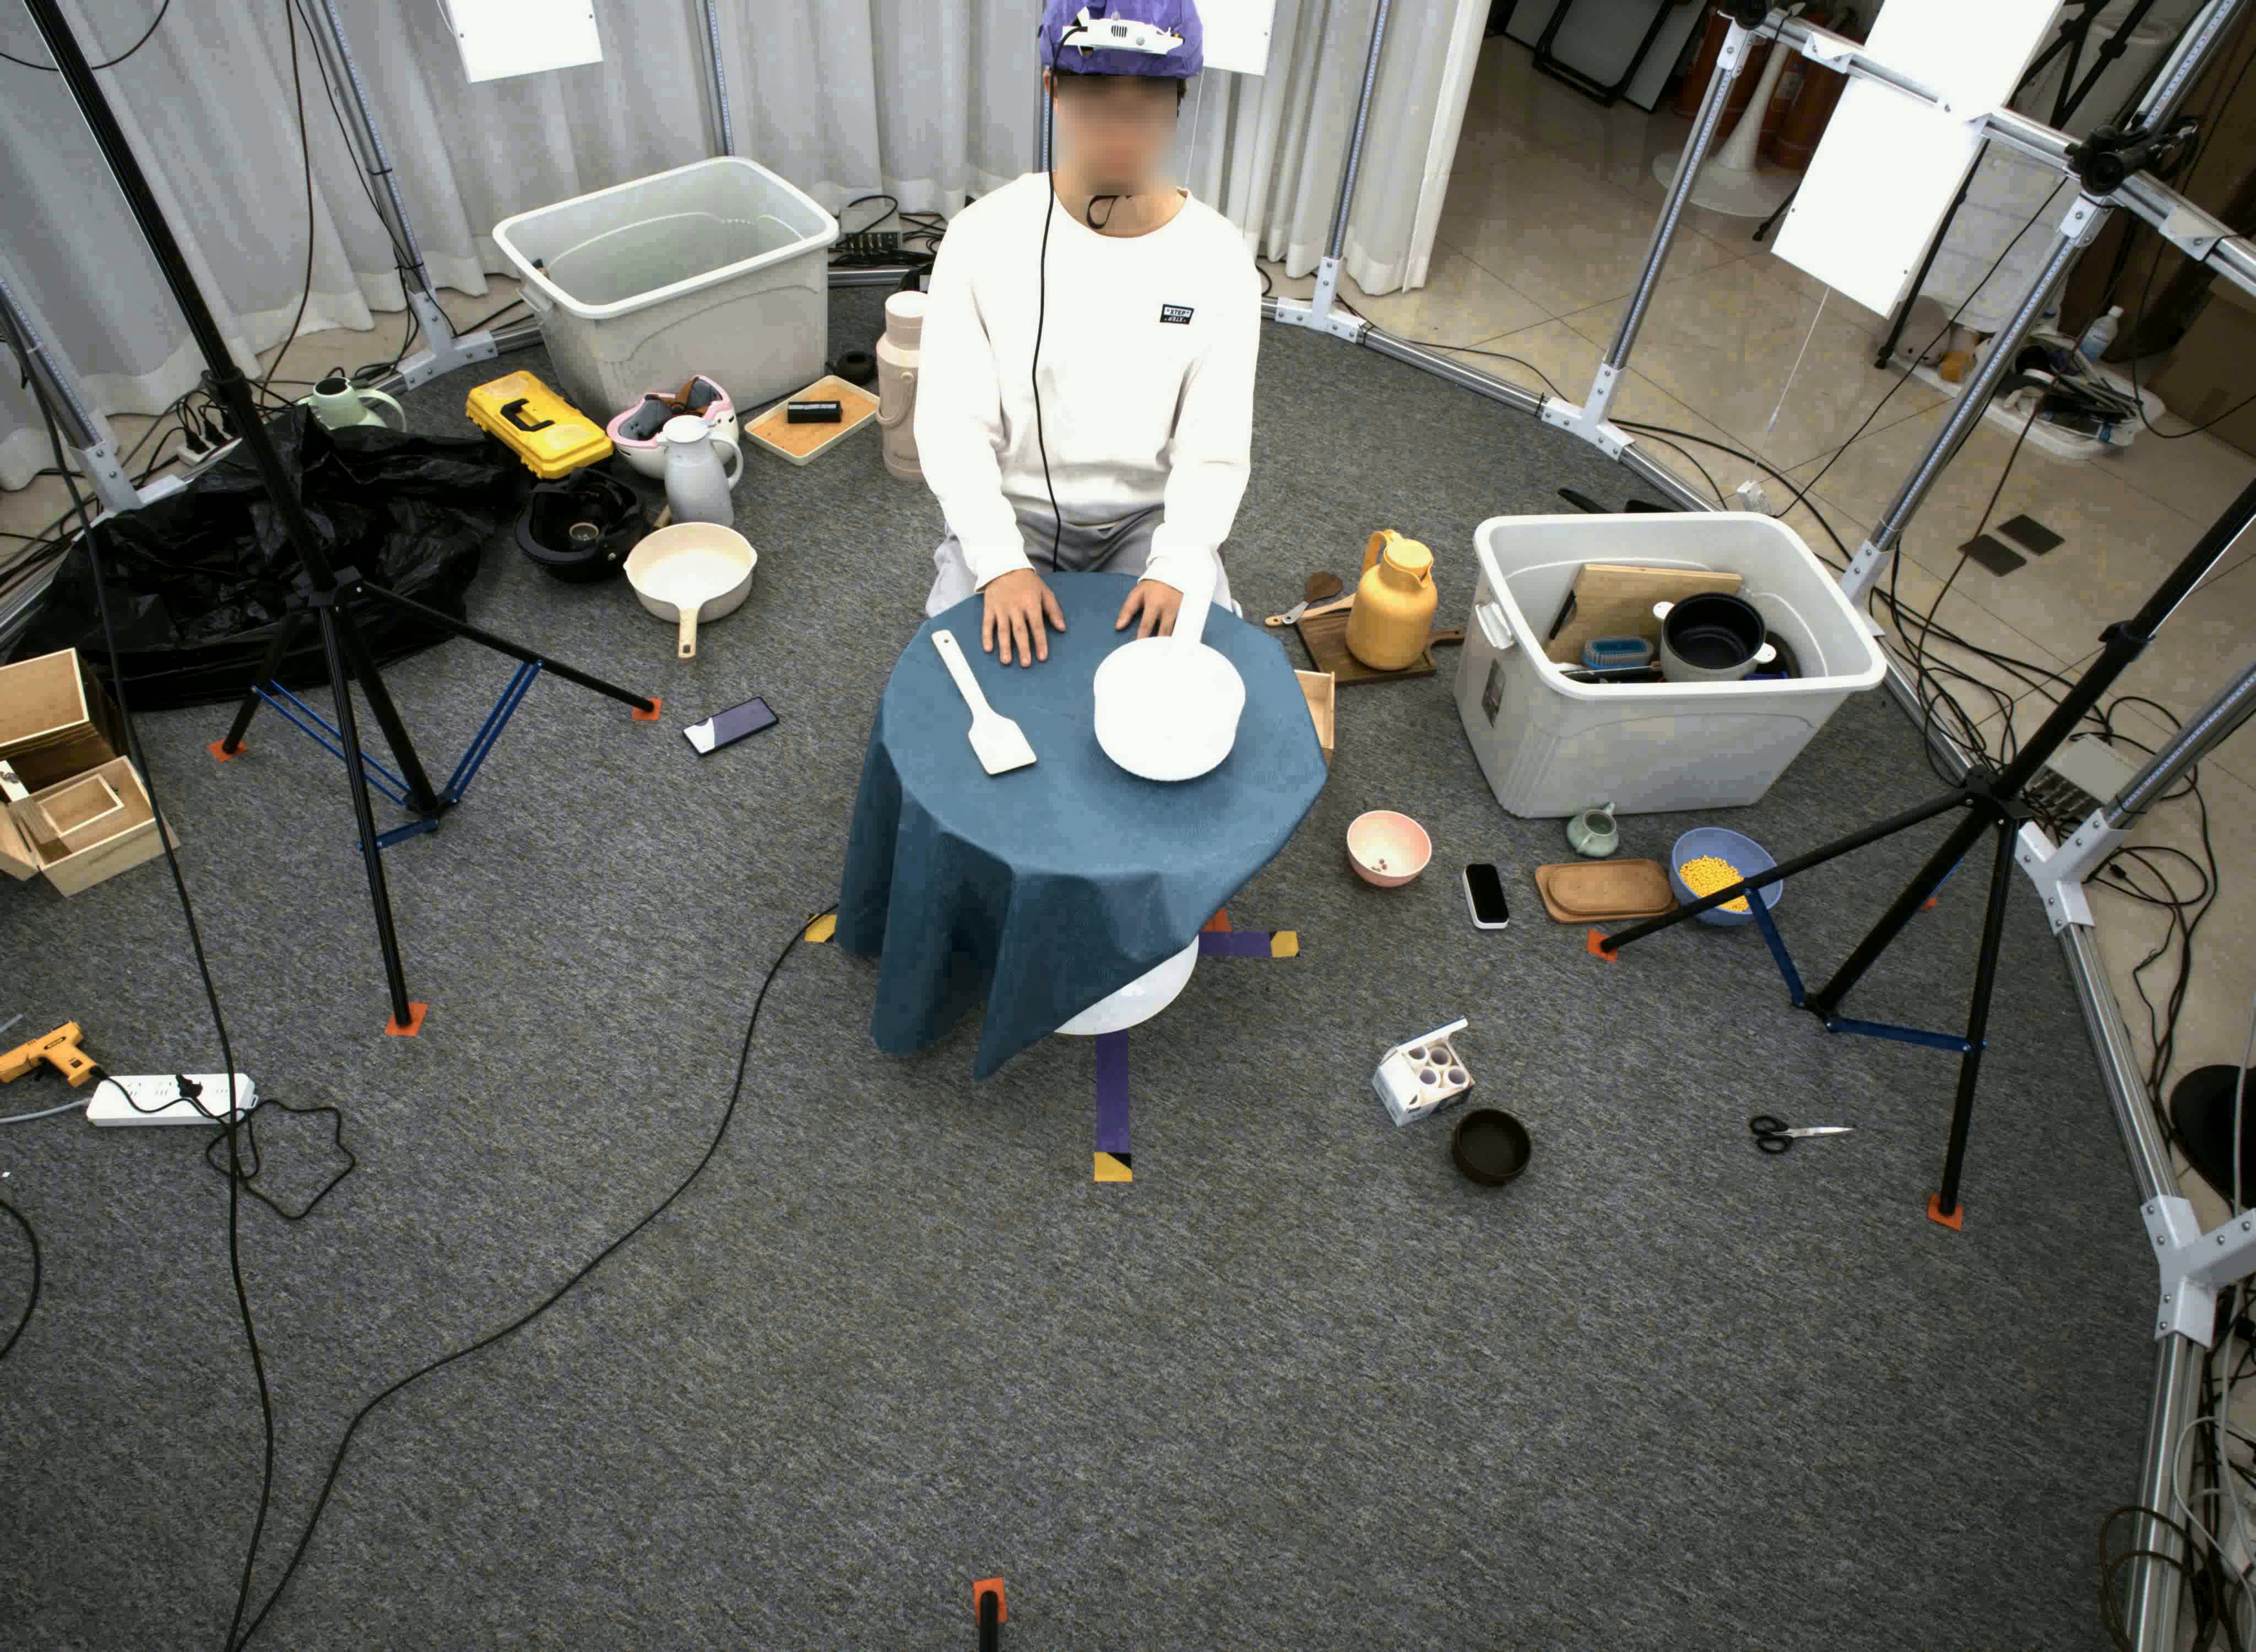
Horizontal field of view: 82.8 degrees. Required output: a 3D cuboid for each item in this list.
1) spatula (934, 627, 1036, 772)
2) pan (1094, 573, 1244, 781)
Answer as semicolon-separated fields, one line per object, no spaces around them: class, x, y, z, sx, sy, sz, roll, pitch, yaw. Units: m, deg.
spatula;-0.214;-0.183;1.802;0.072;0.010;0.300;-18;52;-17
pan;0.069;-0.209;1.790;0.201;0.099;0.363;11;48;7
